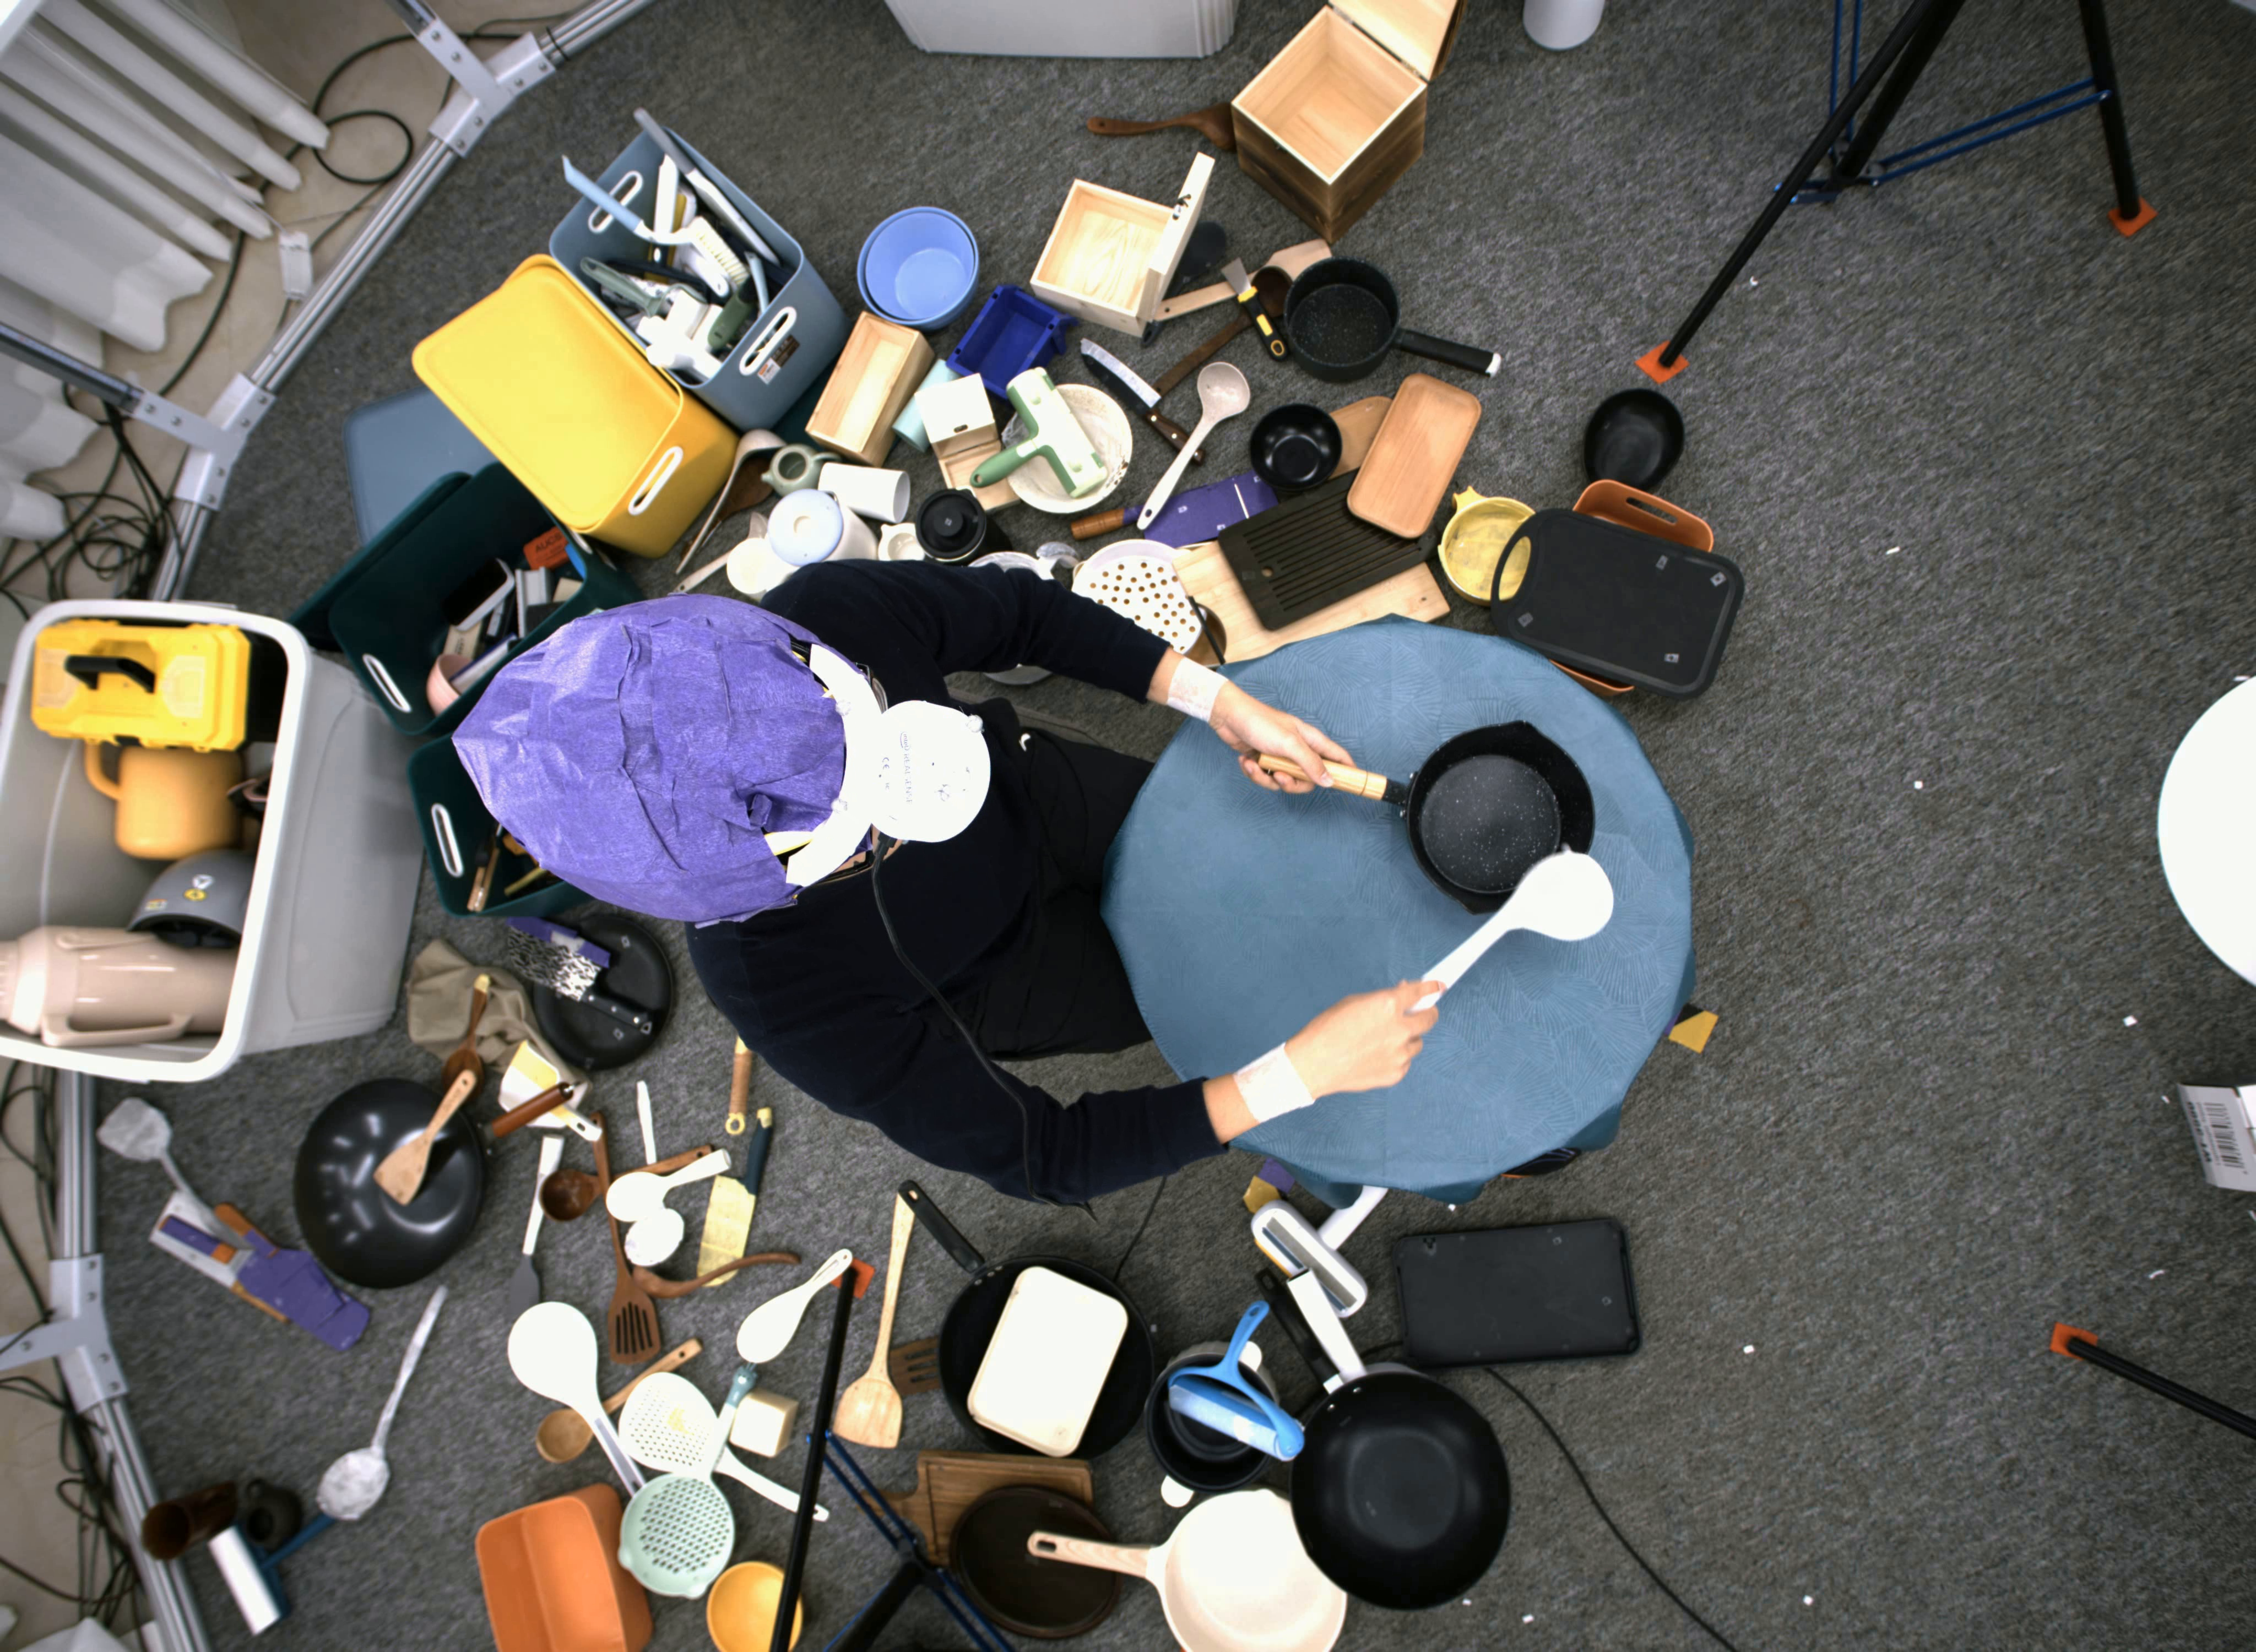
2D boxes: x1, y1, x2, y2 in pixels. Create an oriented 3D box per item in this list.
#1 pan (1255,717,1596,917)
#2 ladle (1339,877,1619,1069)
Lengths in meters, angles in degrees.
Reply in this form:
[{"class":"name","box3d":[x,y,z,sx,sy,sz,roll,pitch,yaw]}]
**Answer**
[{"class":"pan","box3d":[0.296,-0.026,1.401,0.343,0.108,0.207,13,90,8]},{"class":"ladle","box3d":[0.327,0.138,1.275,0.290,0.069,0.092,-33,125,-16]}]
